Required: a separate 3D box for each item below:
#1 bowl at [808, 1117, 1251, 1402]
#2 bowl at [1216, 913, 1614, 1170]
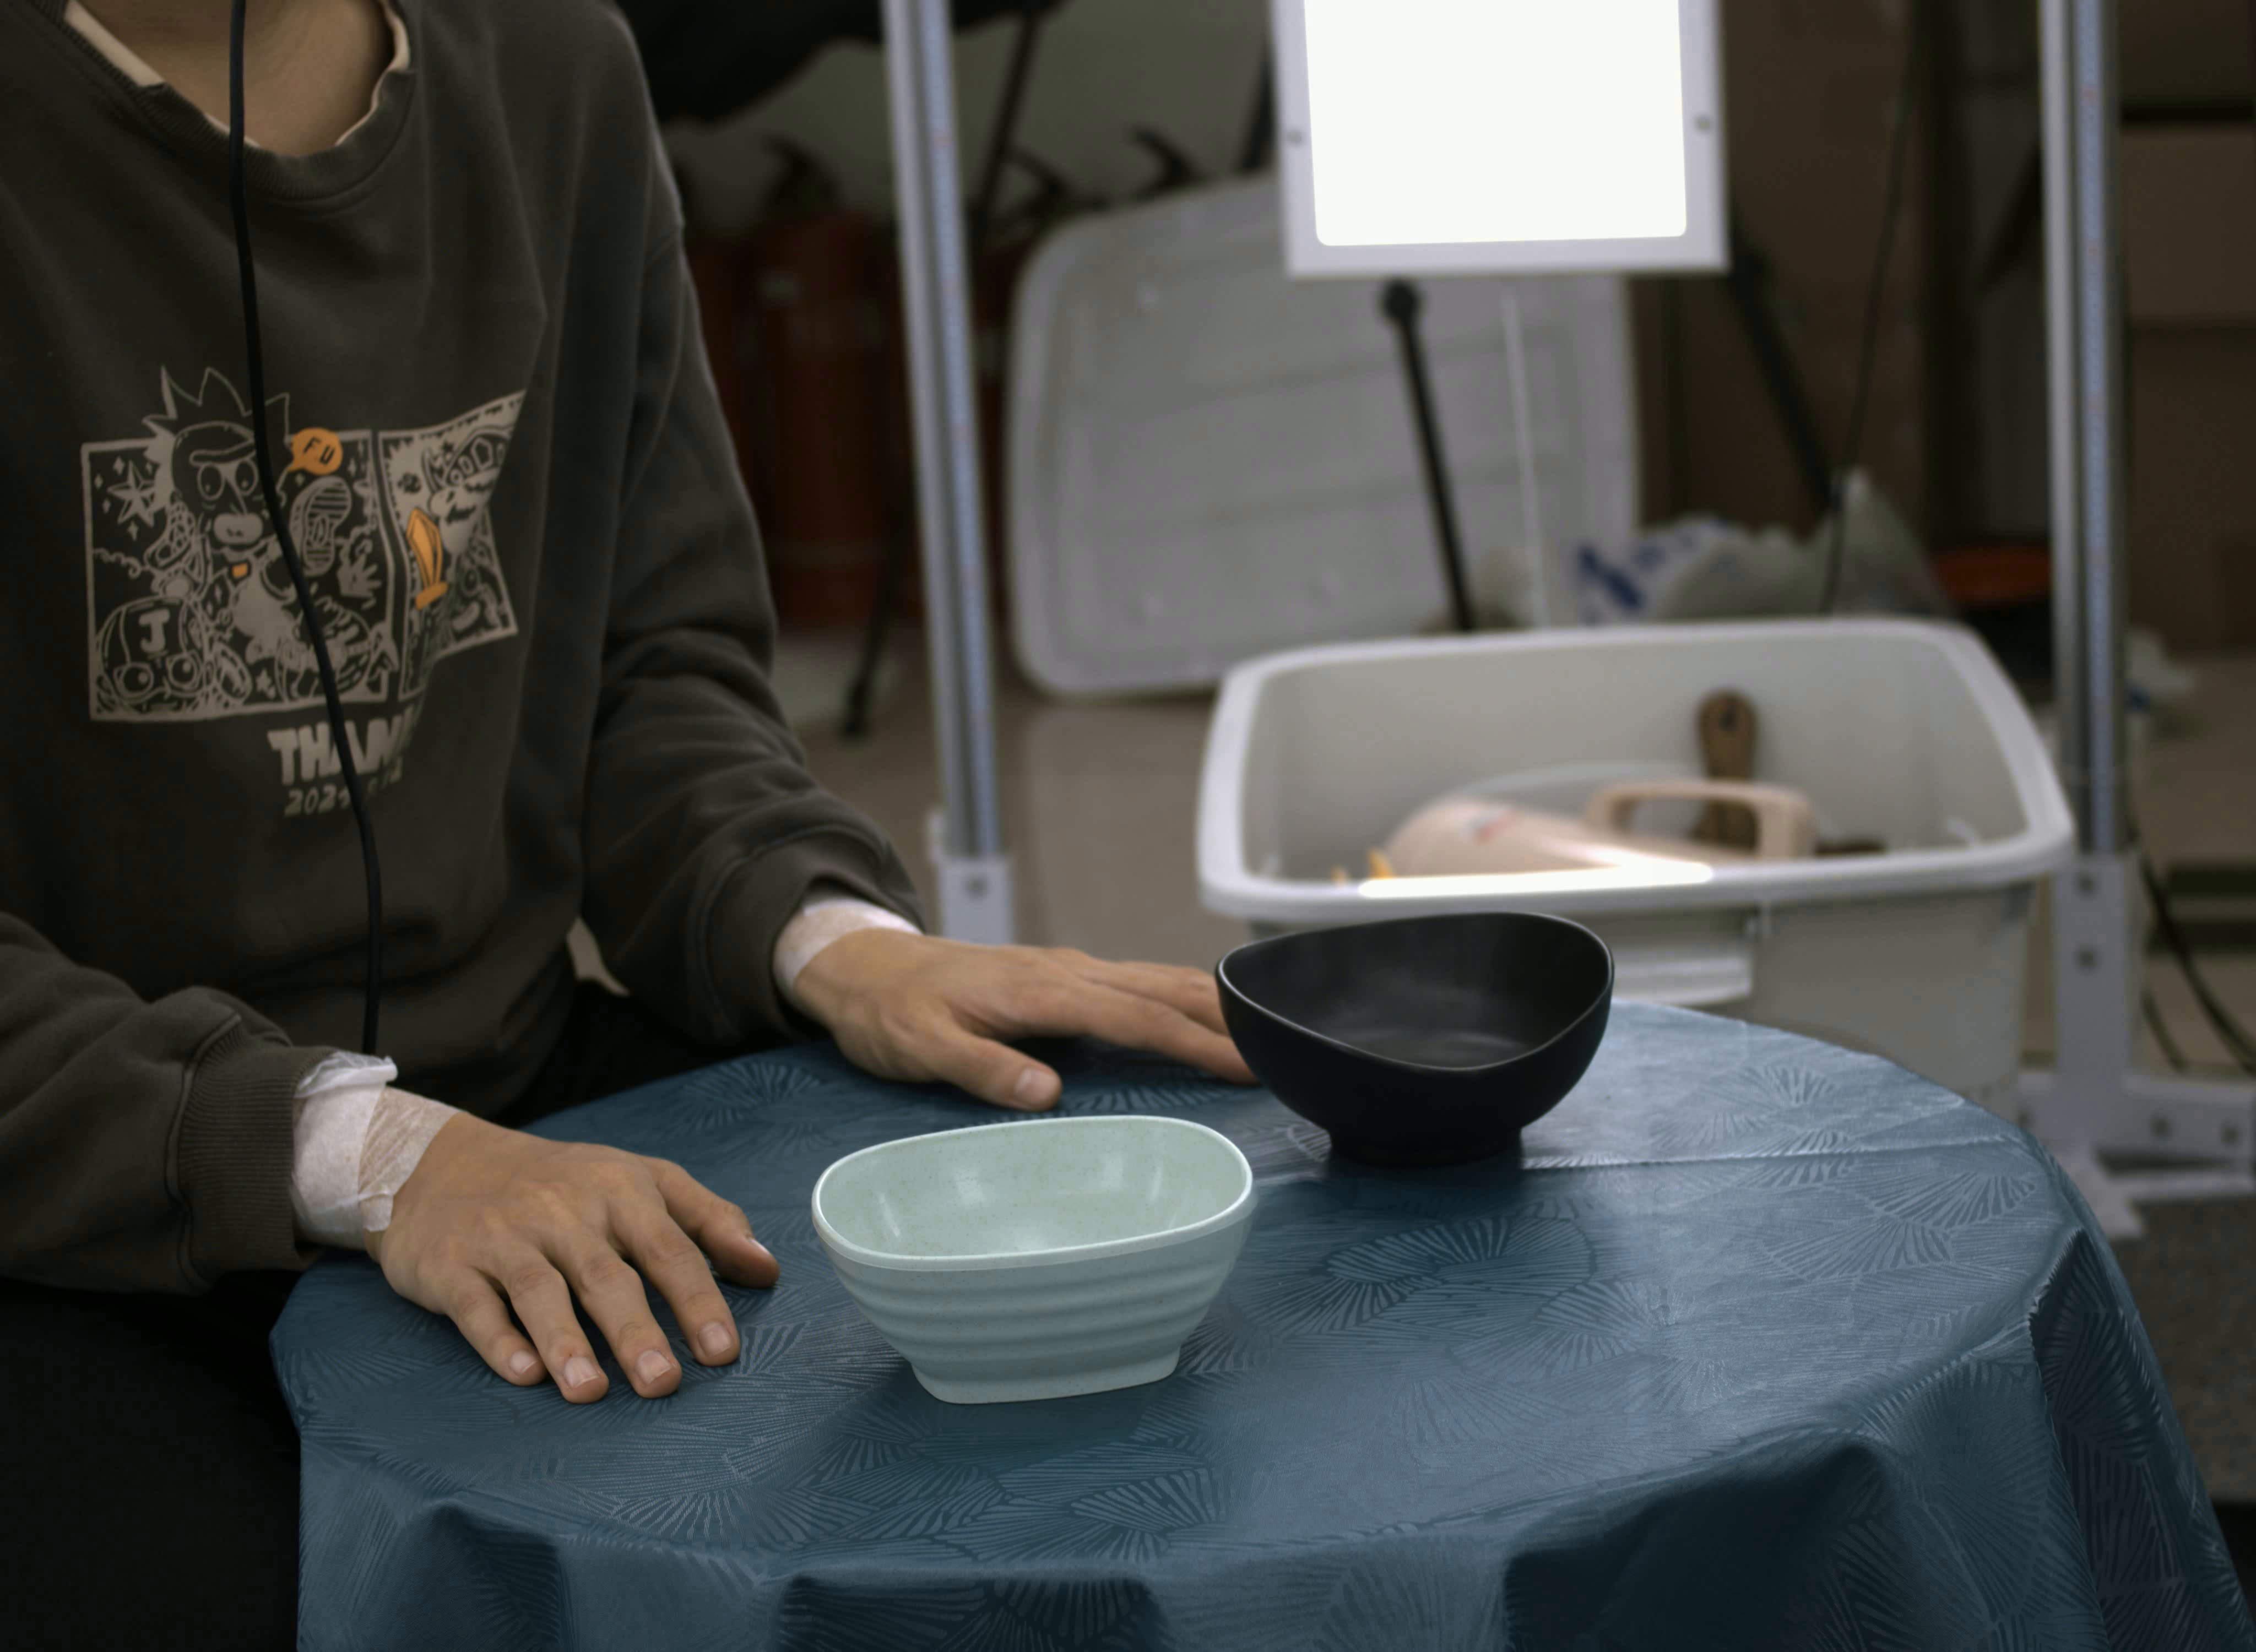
[{"bbox_3d":[-0.030,0.139,1.735,0.151,0.059,0.151,-3,14,-1],"label":"bowl"},{"bbox_3d":[0.103,0.079,1.921,0.136,0.067,0.171,-8,16,-11],"label":"bowl"}]
